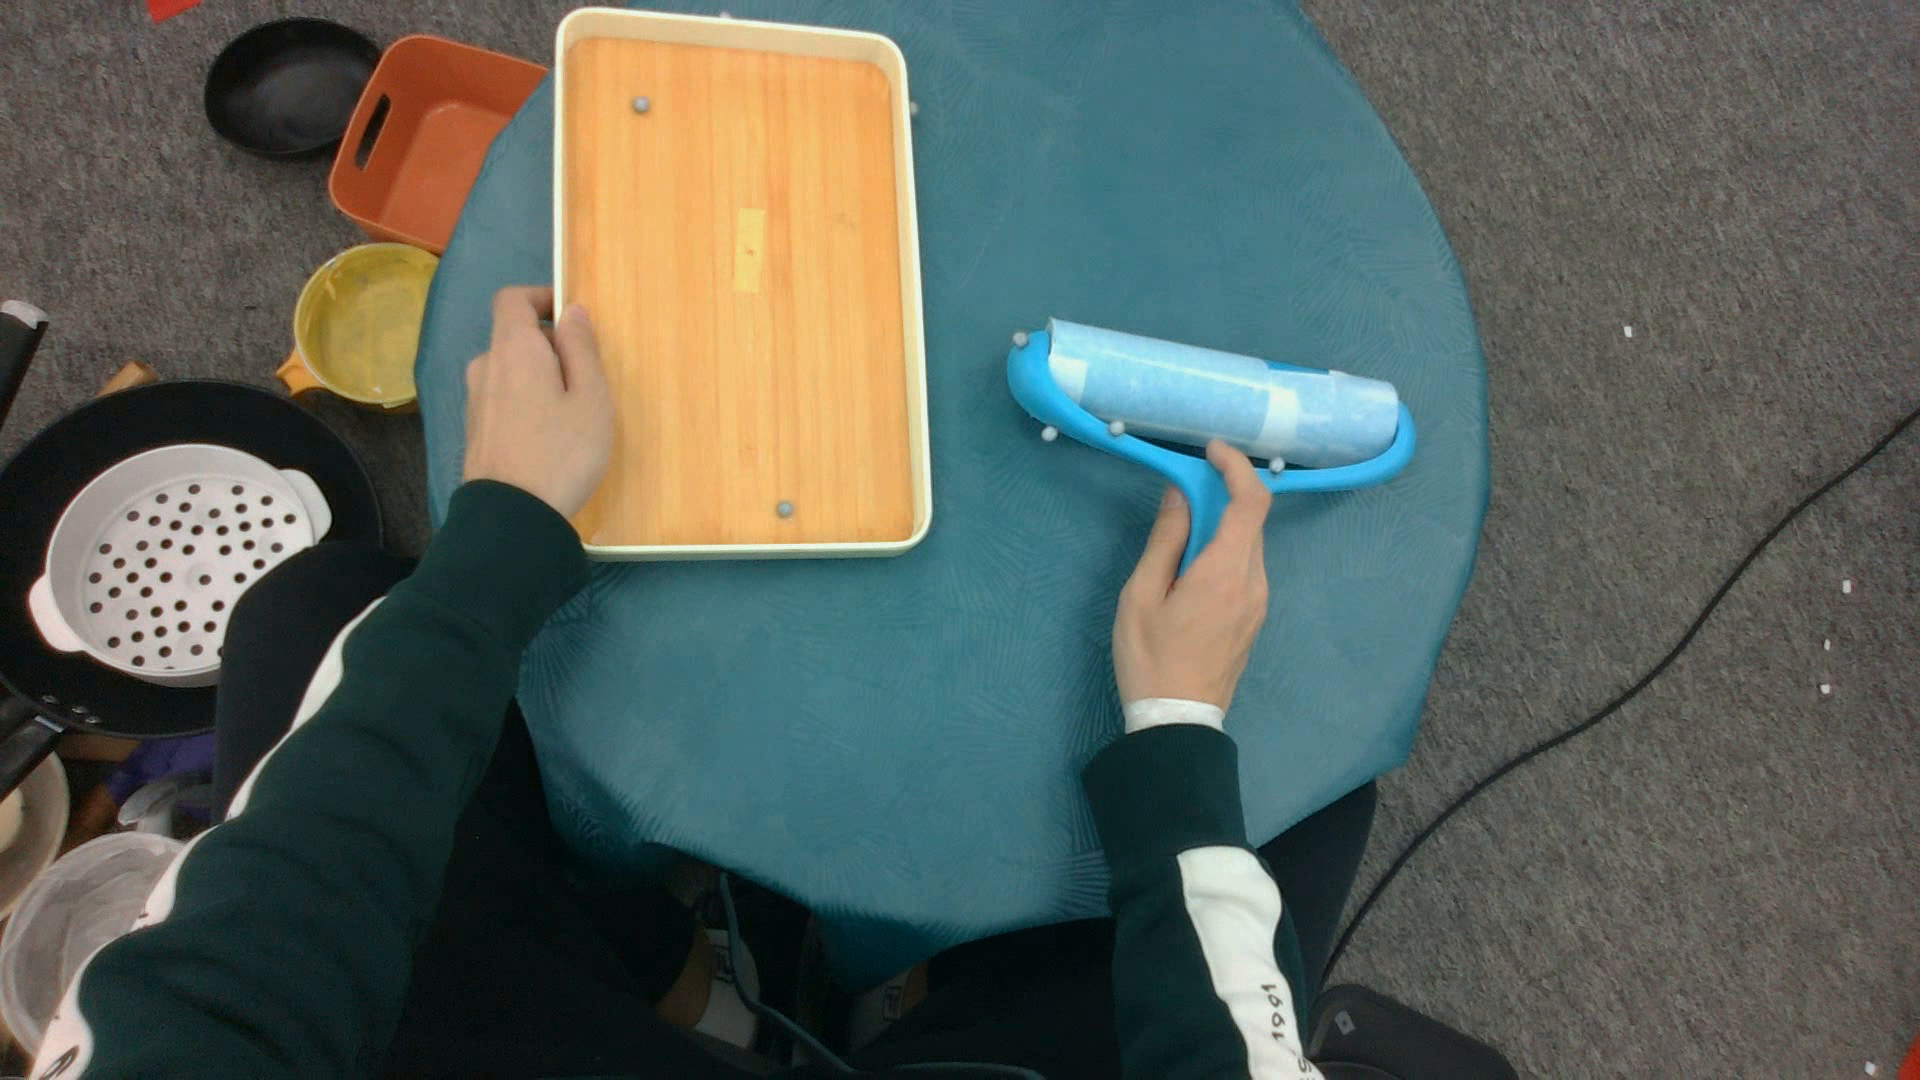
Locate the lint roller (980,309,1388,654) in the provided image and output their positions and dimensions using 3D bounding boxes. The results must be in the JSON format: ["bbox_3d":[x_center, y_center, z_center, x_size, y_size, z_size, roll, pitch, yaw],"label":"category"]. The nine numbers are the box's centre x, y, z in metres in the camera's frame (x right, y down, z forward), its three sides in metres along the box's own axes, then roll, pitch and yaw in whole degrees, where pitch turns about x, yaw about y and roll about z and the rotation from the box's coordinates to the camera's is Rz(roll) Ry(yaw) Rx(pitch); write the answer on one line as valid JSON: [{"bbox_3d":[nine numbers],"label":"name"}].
[{"bbox_3d":[0.122,-0.032,0.745,0.229,0.068,0.180,4,76,-9],"label":"lint roller"}]

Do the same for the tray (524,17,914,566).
[{"bbox_3d":[-0.131,-0.138,0.741,0.192,0.027,0.301,-2,77,-13],"label":"tray"}]
